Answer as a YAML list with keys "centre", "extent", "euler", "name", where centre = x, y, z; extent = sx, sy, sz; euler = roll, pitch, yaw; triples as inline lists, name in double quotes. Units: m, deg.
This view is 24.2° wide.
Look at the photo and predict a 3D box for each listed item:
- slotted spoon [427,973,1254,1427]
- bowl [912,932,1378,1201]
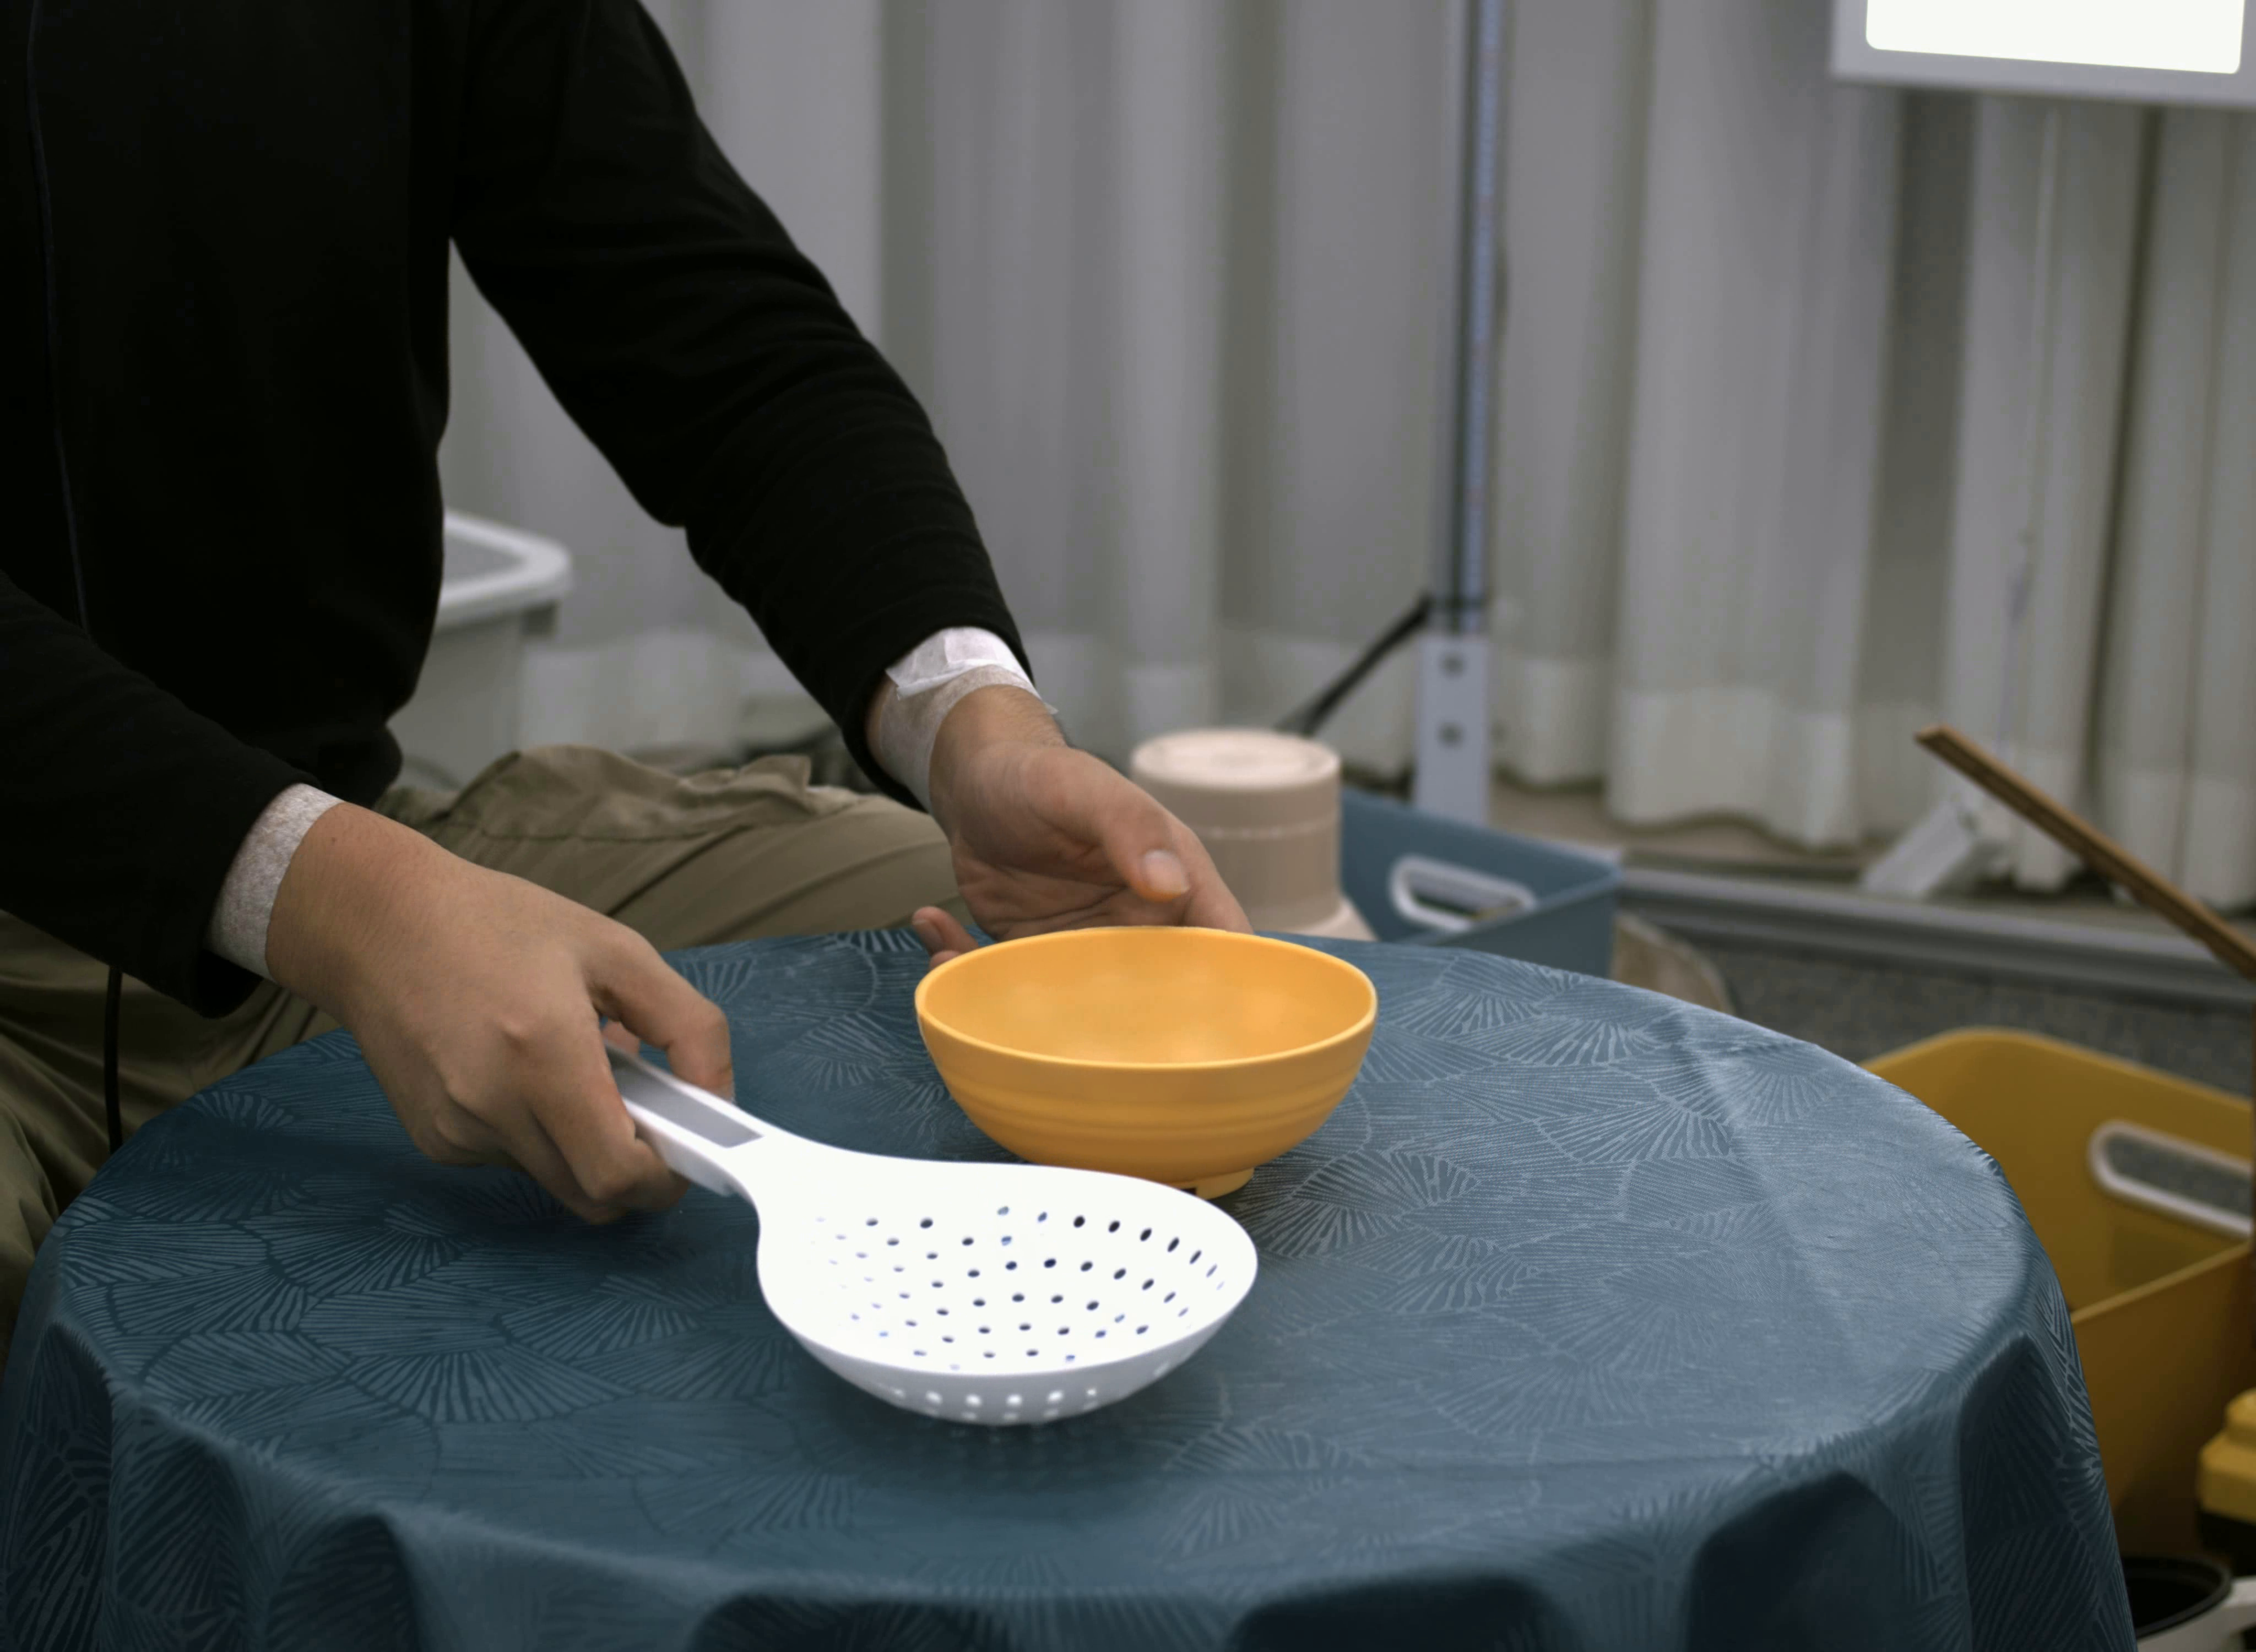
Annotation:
- centre: [-0.101, 0.099, 1.519]
  extent: [0.136, 0.046, 0.345]
  euler: [-18, 31, -36]
  name: "slotted spoon"
- centre: [0.004, 0.081, 1.631]
  extent: [0.145, 0.060, 0.144]
  euler: [2, 15, 0]
  name: "bowl"
